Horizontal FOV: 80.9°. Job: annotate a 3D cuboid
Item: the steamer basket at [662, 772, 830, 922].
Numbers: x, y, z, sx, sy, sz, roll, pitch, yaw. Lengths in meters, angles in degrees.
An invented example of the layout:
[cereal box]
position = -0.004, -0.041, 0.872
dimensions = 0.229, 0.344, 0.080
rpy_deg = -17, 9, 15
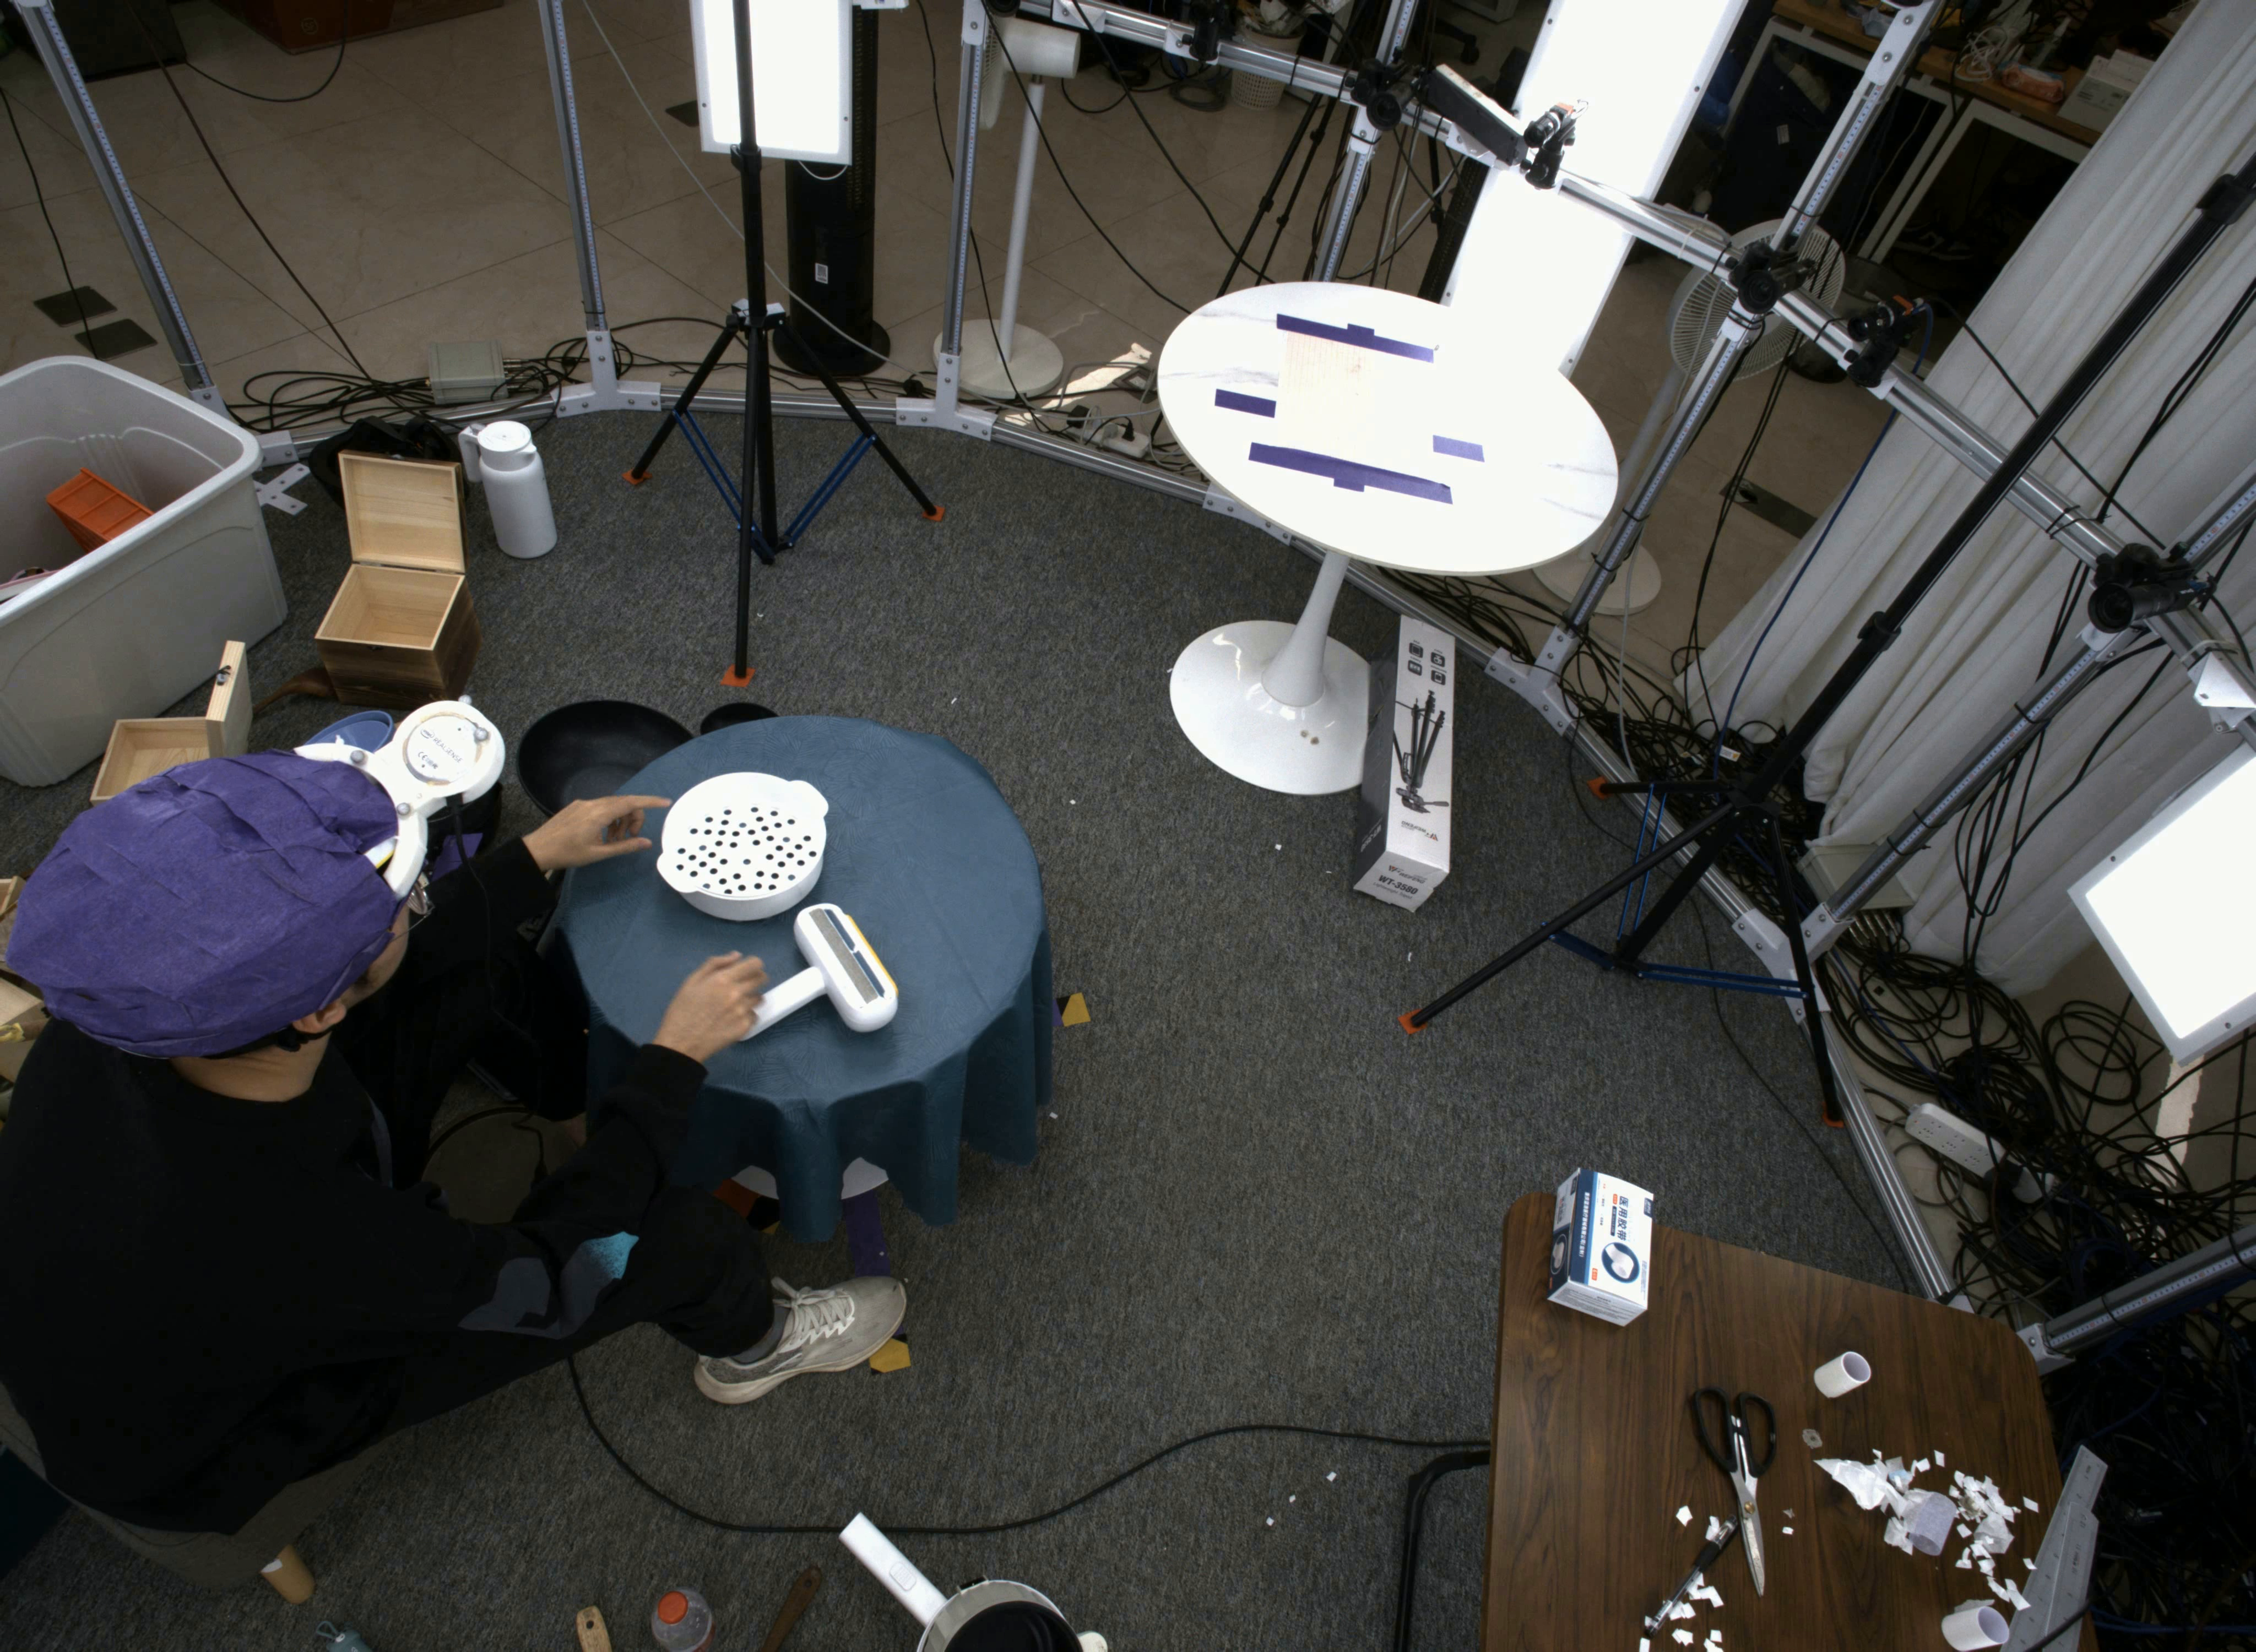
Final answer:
[steamer basket]
position = -0.484, 0.026, 1.655
dimensions = 0.197, 0.071, 0.231
rpy_deg = 42, 58, 19

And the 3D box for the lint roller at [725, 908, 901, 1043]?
[lint roller]
position = -0.390, 0.196, 1.550
dimensions = 0.193, 0.076, 0.187
rpy_deg = -20, 56, -25
